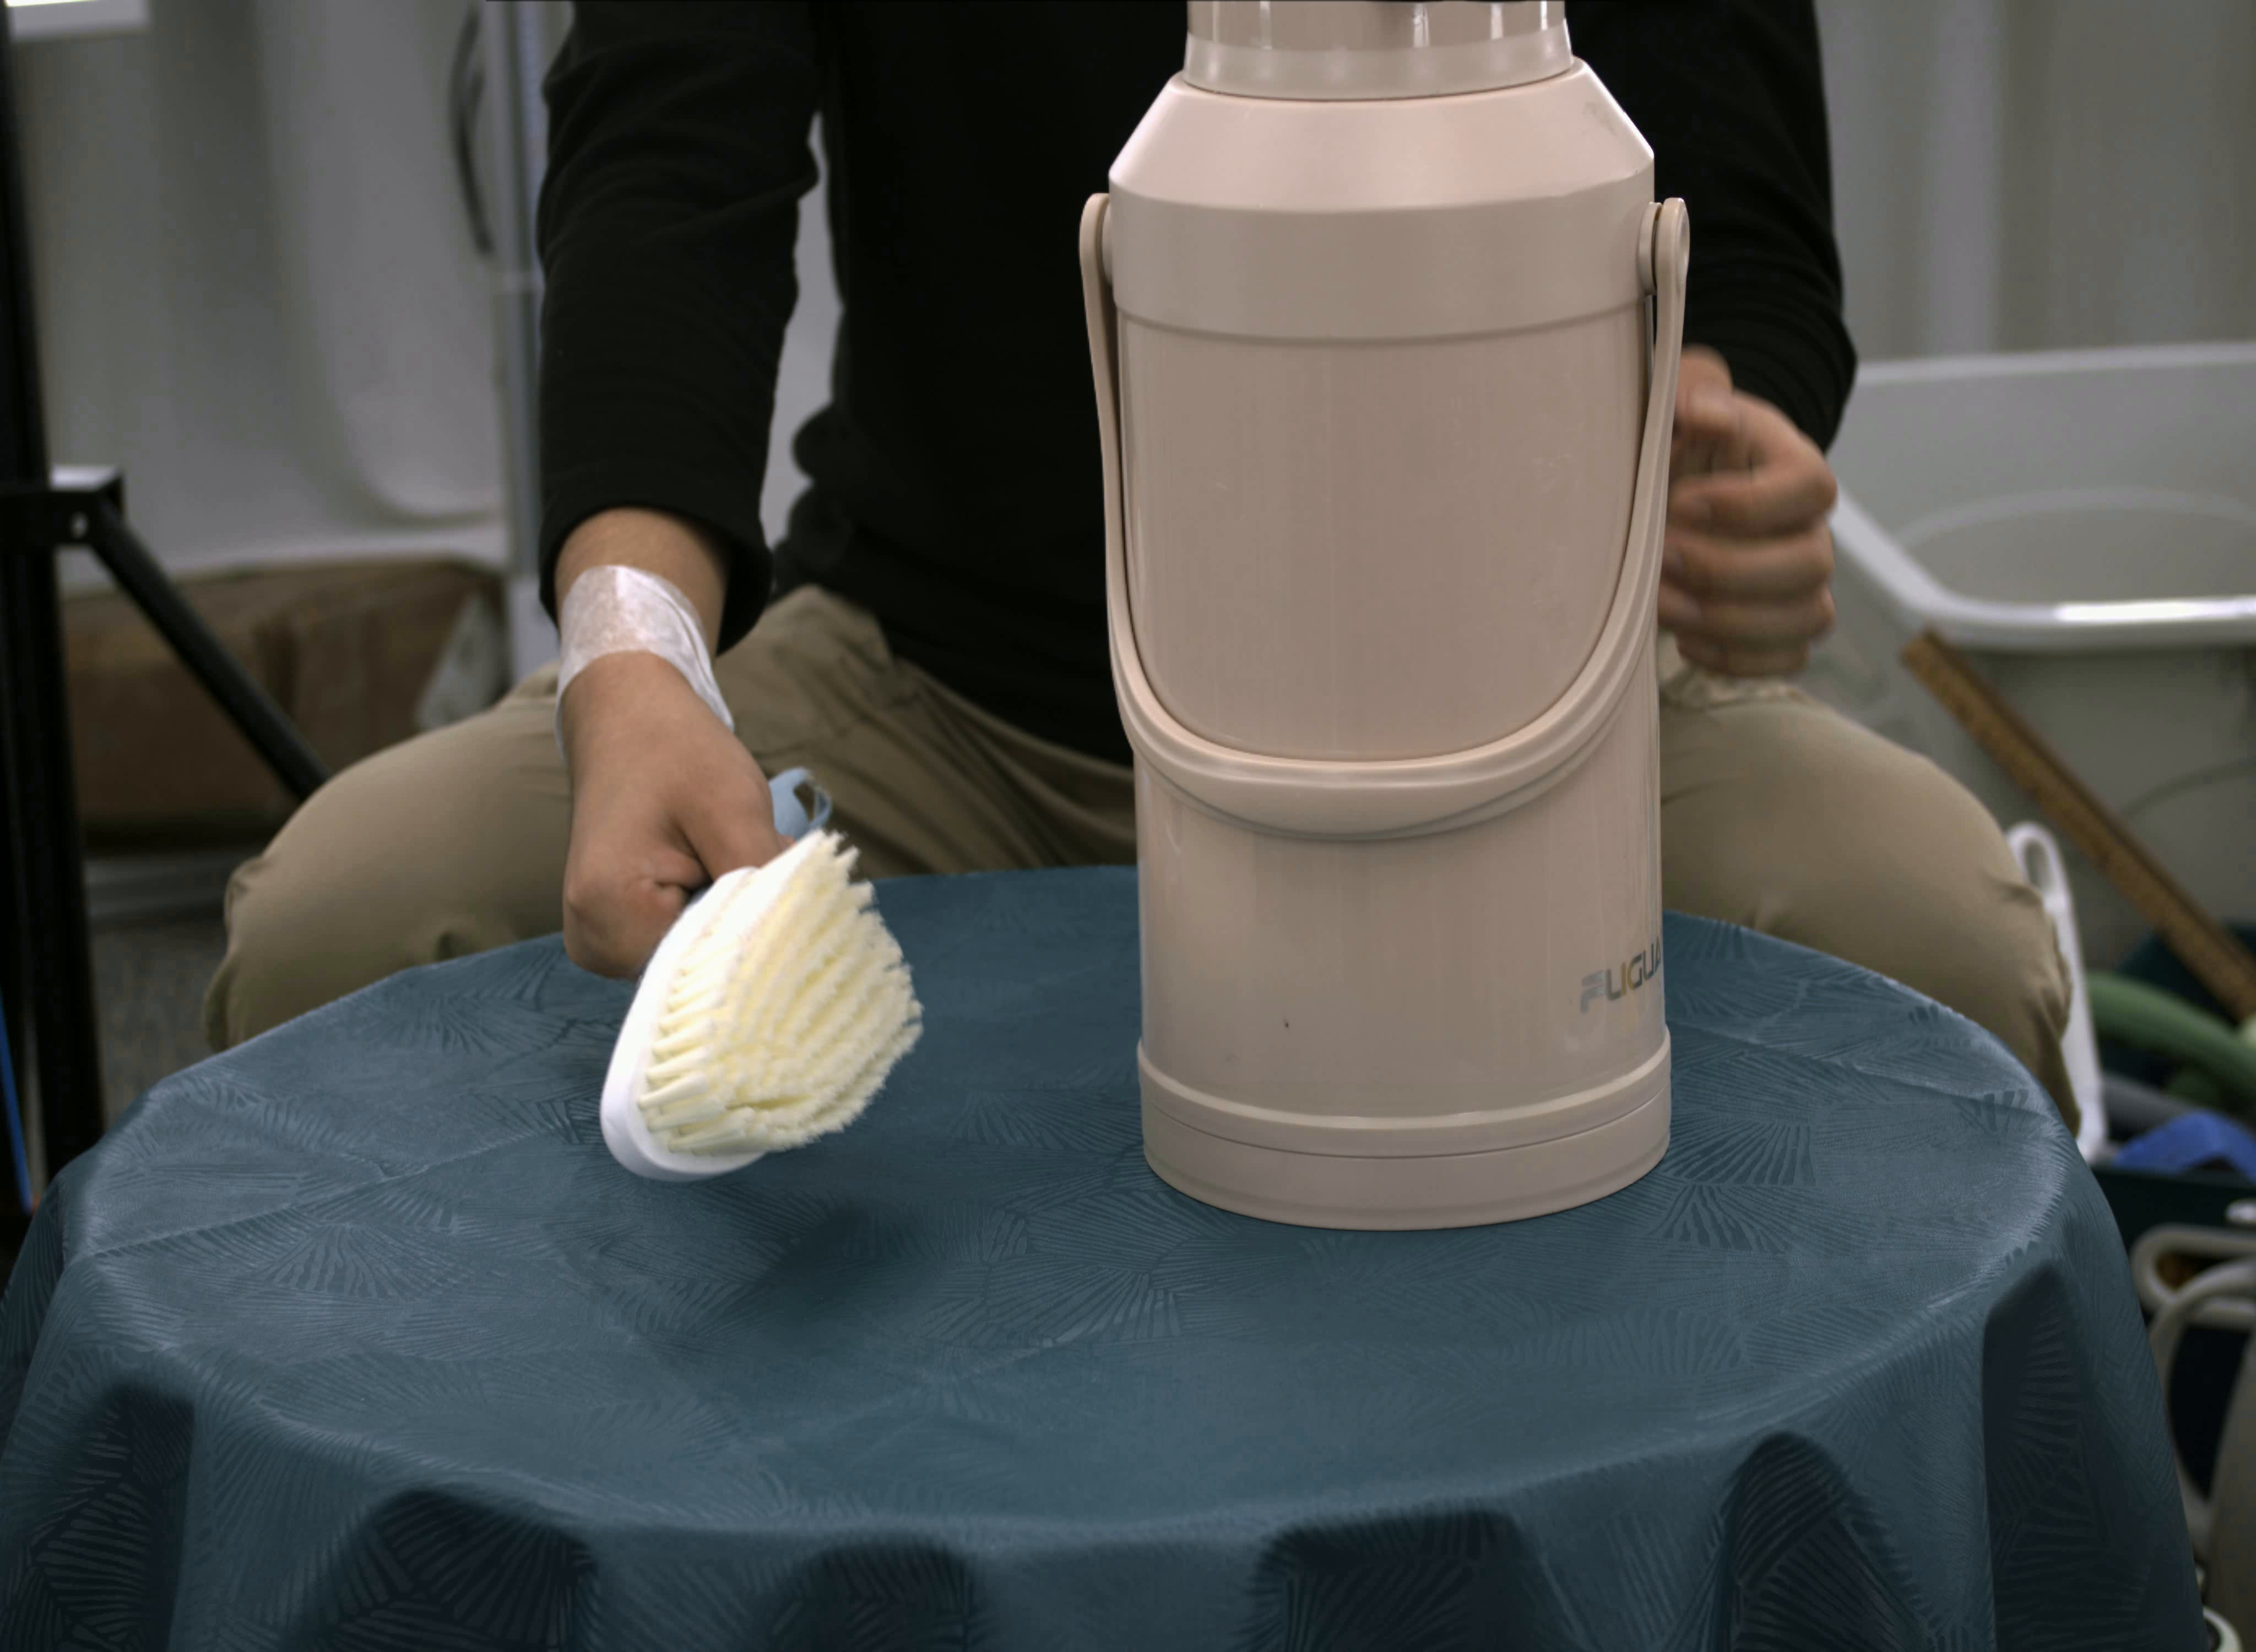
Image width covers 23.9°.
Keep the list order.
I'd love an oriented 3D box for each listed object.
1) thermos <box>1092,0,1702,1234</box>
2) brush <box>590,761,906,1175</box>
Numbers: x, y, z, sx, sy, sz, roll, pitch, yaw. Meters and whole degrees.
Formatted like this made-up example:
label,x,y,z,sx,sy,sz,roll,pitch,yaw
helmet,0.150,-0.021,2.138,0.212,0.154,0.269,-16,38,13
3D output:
label,x,y,z,sx,sy,sz,roll,pitch,yaw
thermos,0.084,-0.100,1.551,0.177,0.406,0.205,1,15,17
brush,-0.098,0.021,1.615,0.084,0.083,0.325,13,19,2
